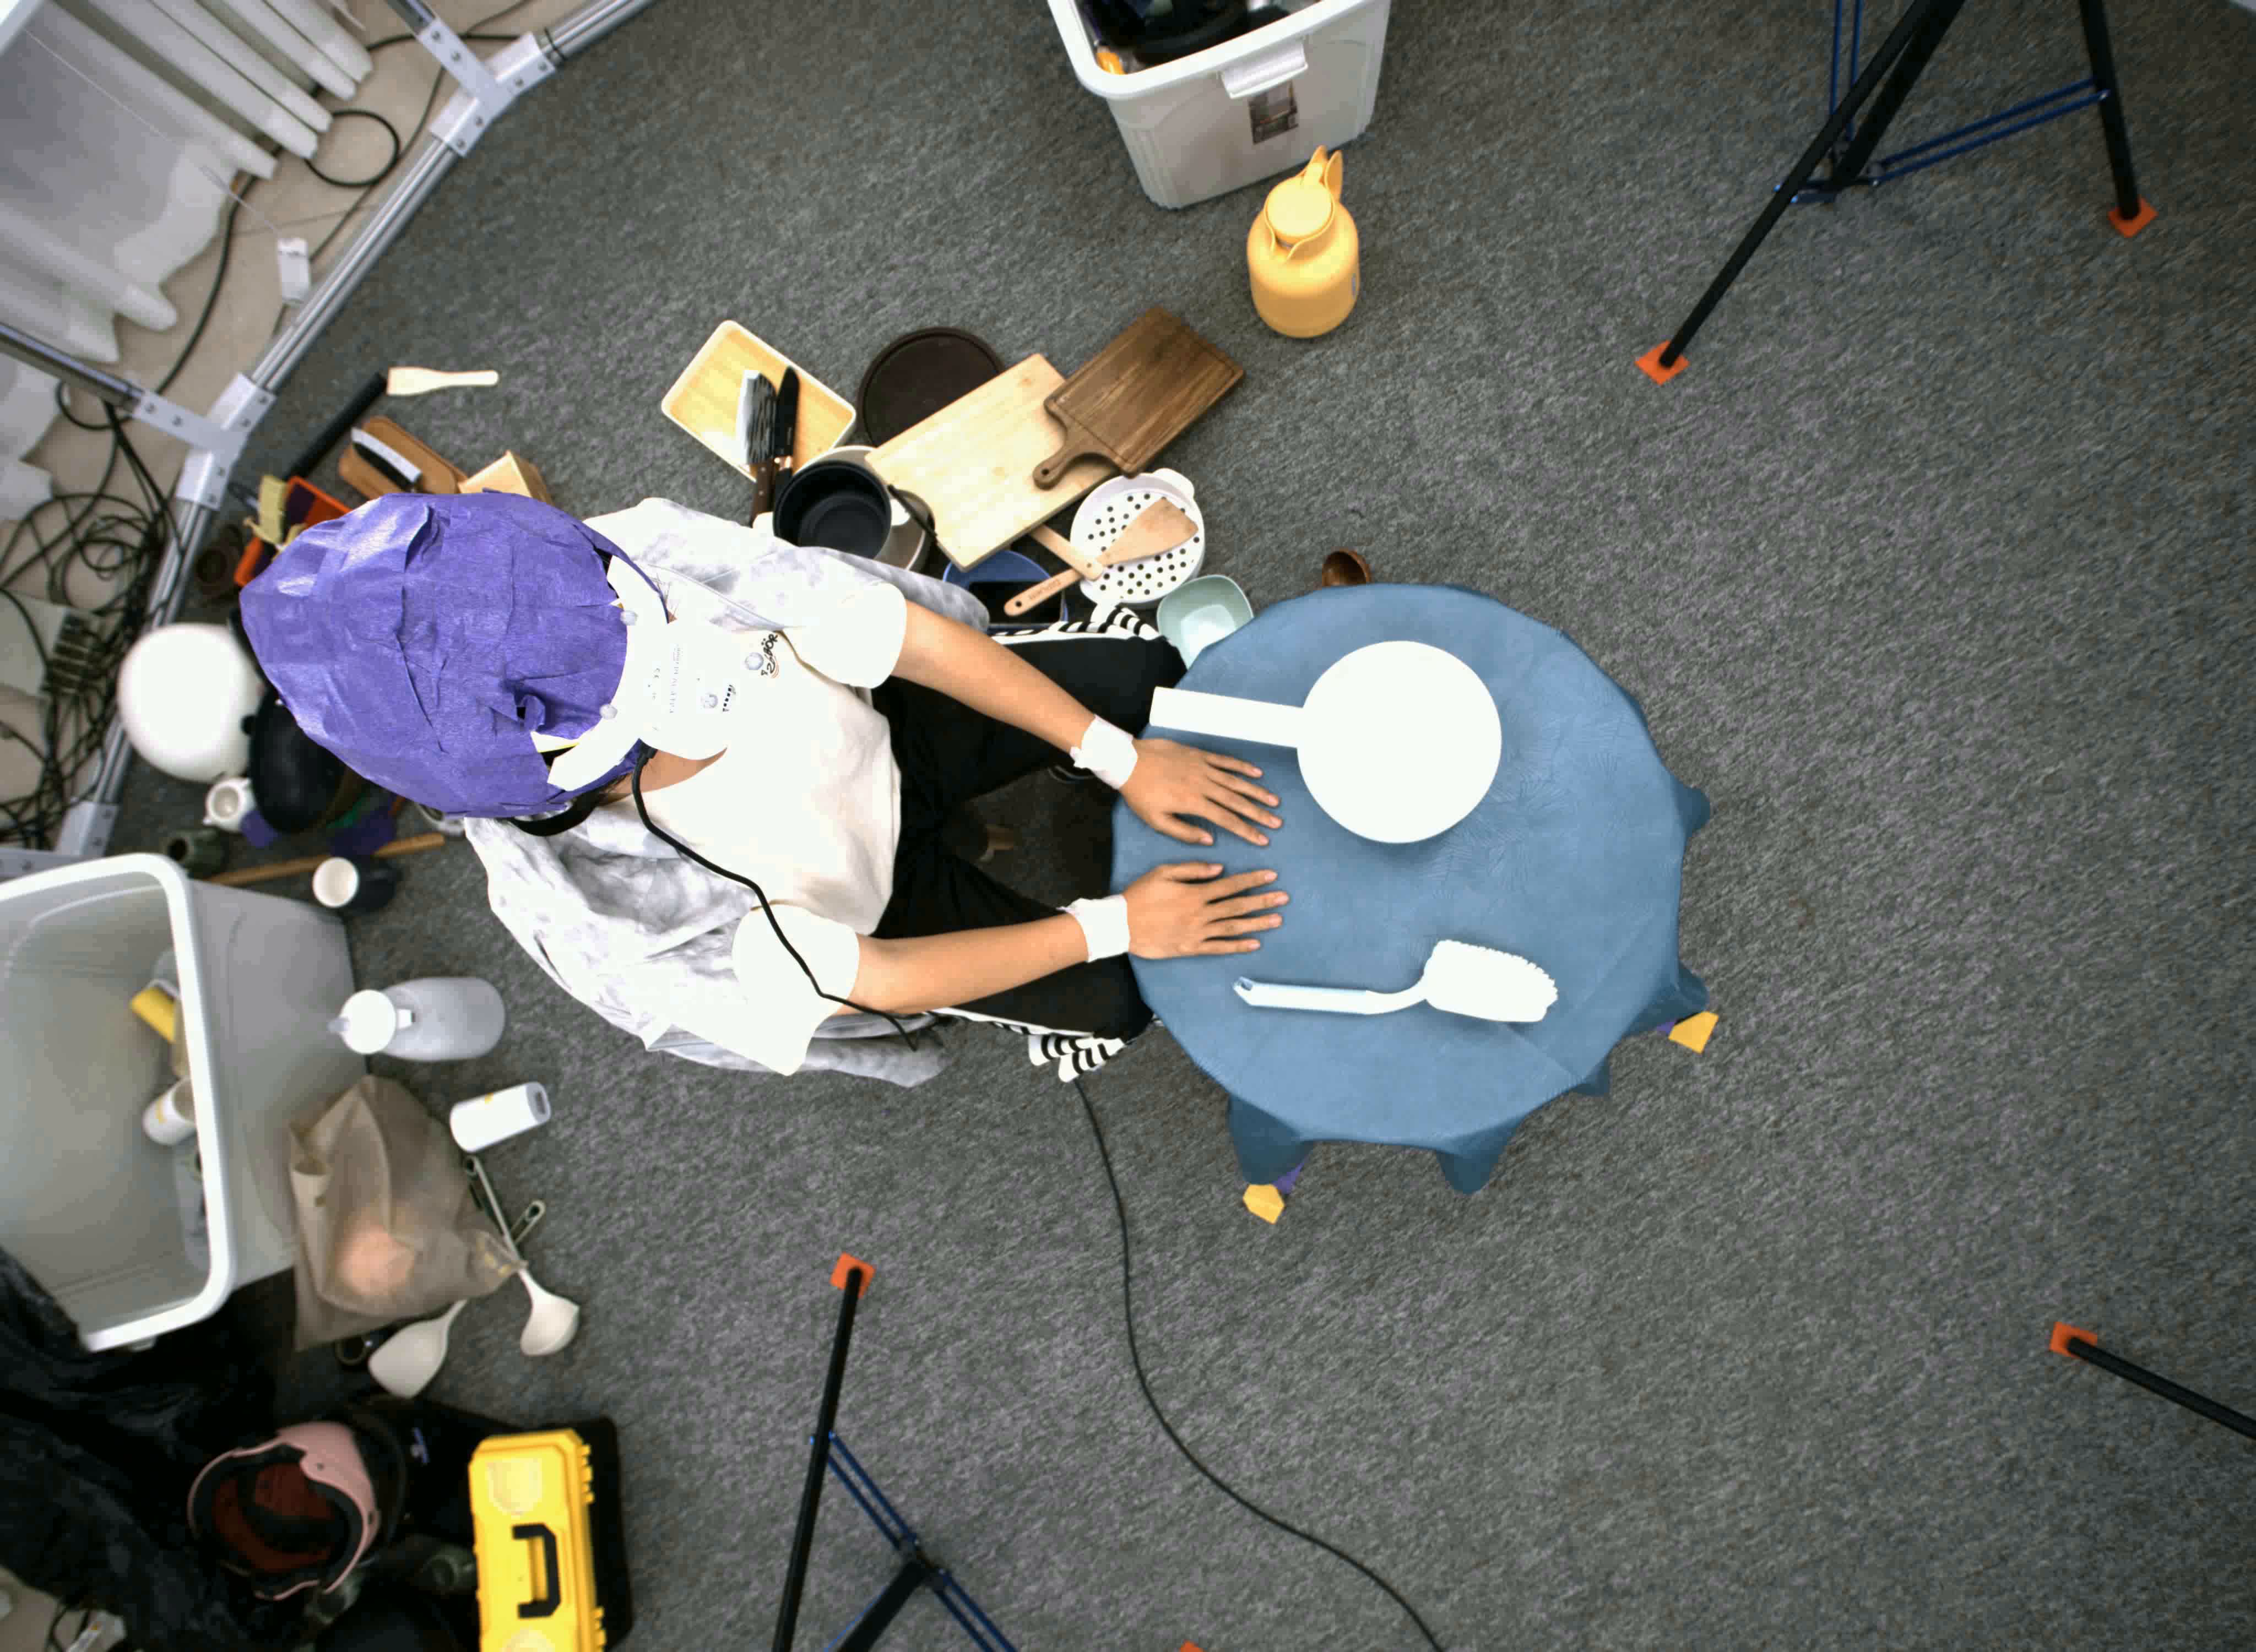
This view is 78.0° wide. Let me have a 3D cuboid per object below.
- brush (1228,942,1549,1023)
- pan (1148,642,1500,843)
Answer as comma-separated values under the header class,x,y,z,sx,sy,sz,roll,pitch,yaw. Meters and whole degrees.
class,x,y,z,sx,sy,sz,roll,pitch,yaw
brush,0.264,0.156,1.413,0.326,0.083,0.084,3,92,10
pan,0.202,-0.094,1.431,0.355,0.102,0.201,9,89,12
